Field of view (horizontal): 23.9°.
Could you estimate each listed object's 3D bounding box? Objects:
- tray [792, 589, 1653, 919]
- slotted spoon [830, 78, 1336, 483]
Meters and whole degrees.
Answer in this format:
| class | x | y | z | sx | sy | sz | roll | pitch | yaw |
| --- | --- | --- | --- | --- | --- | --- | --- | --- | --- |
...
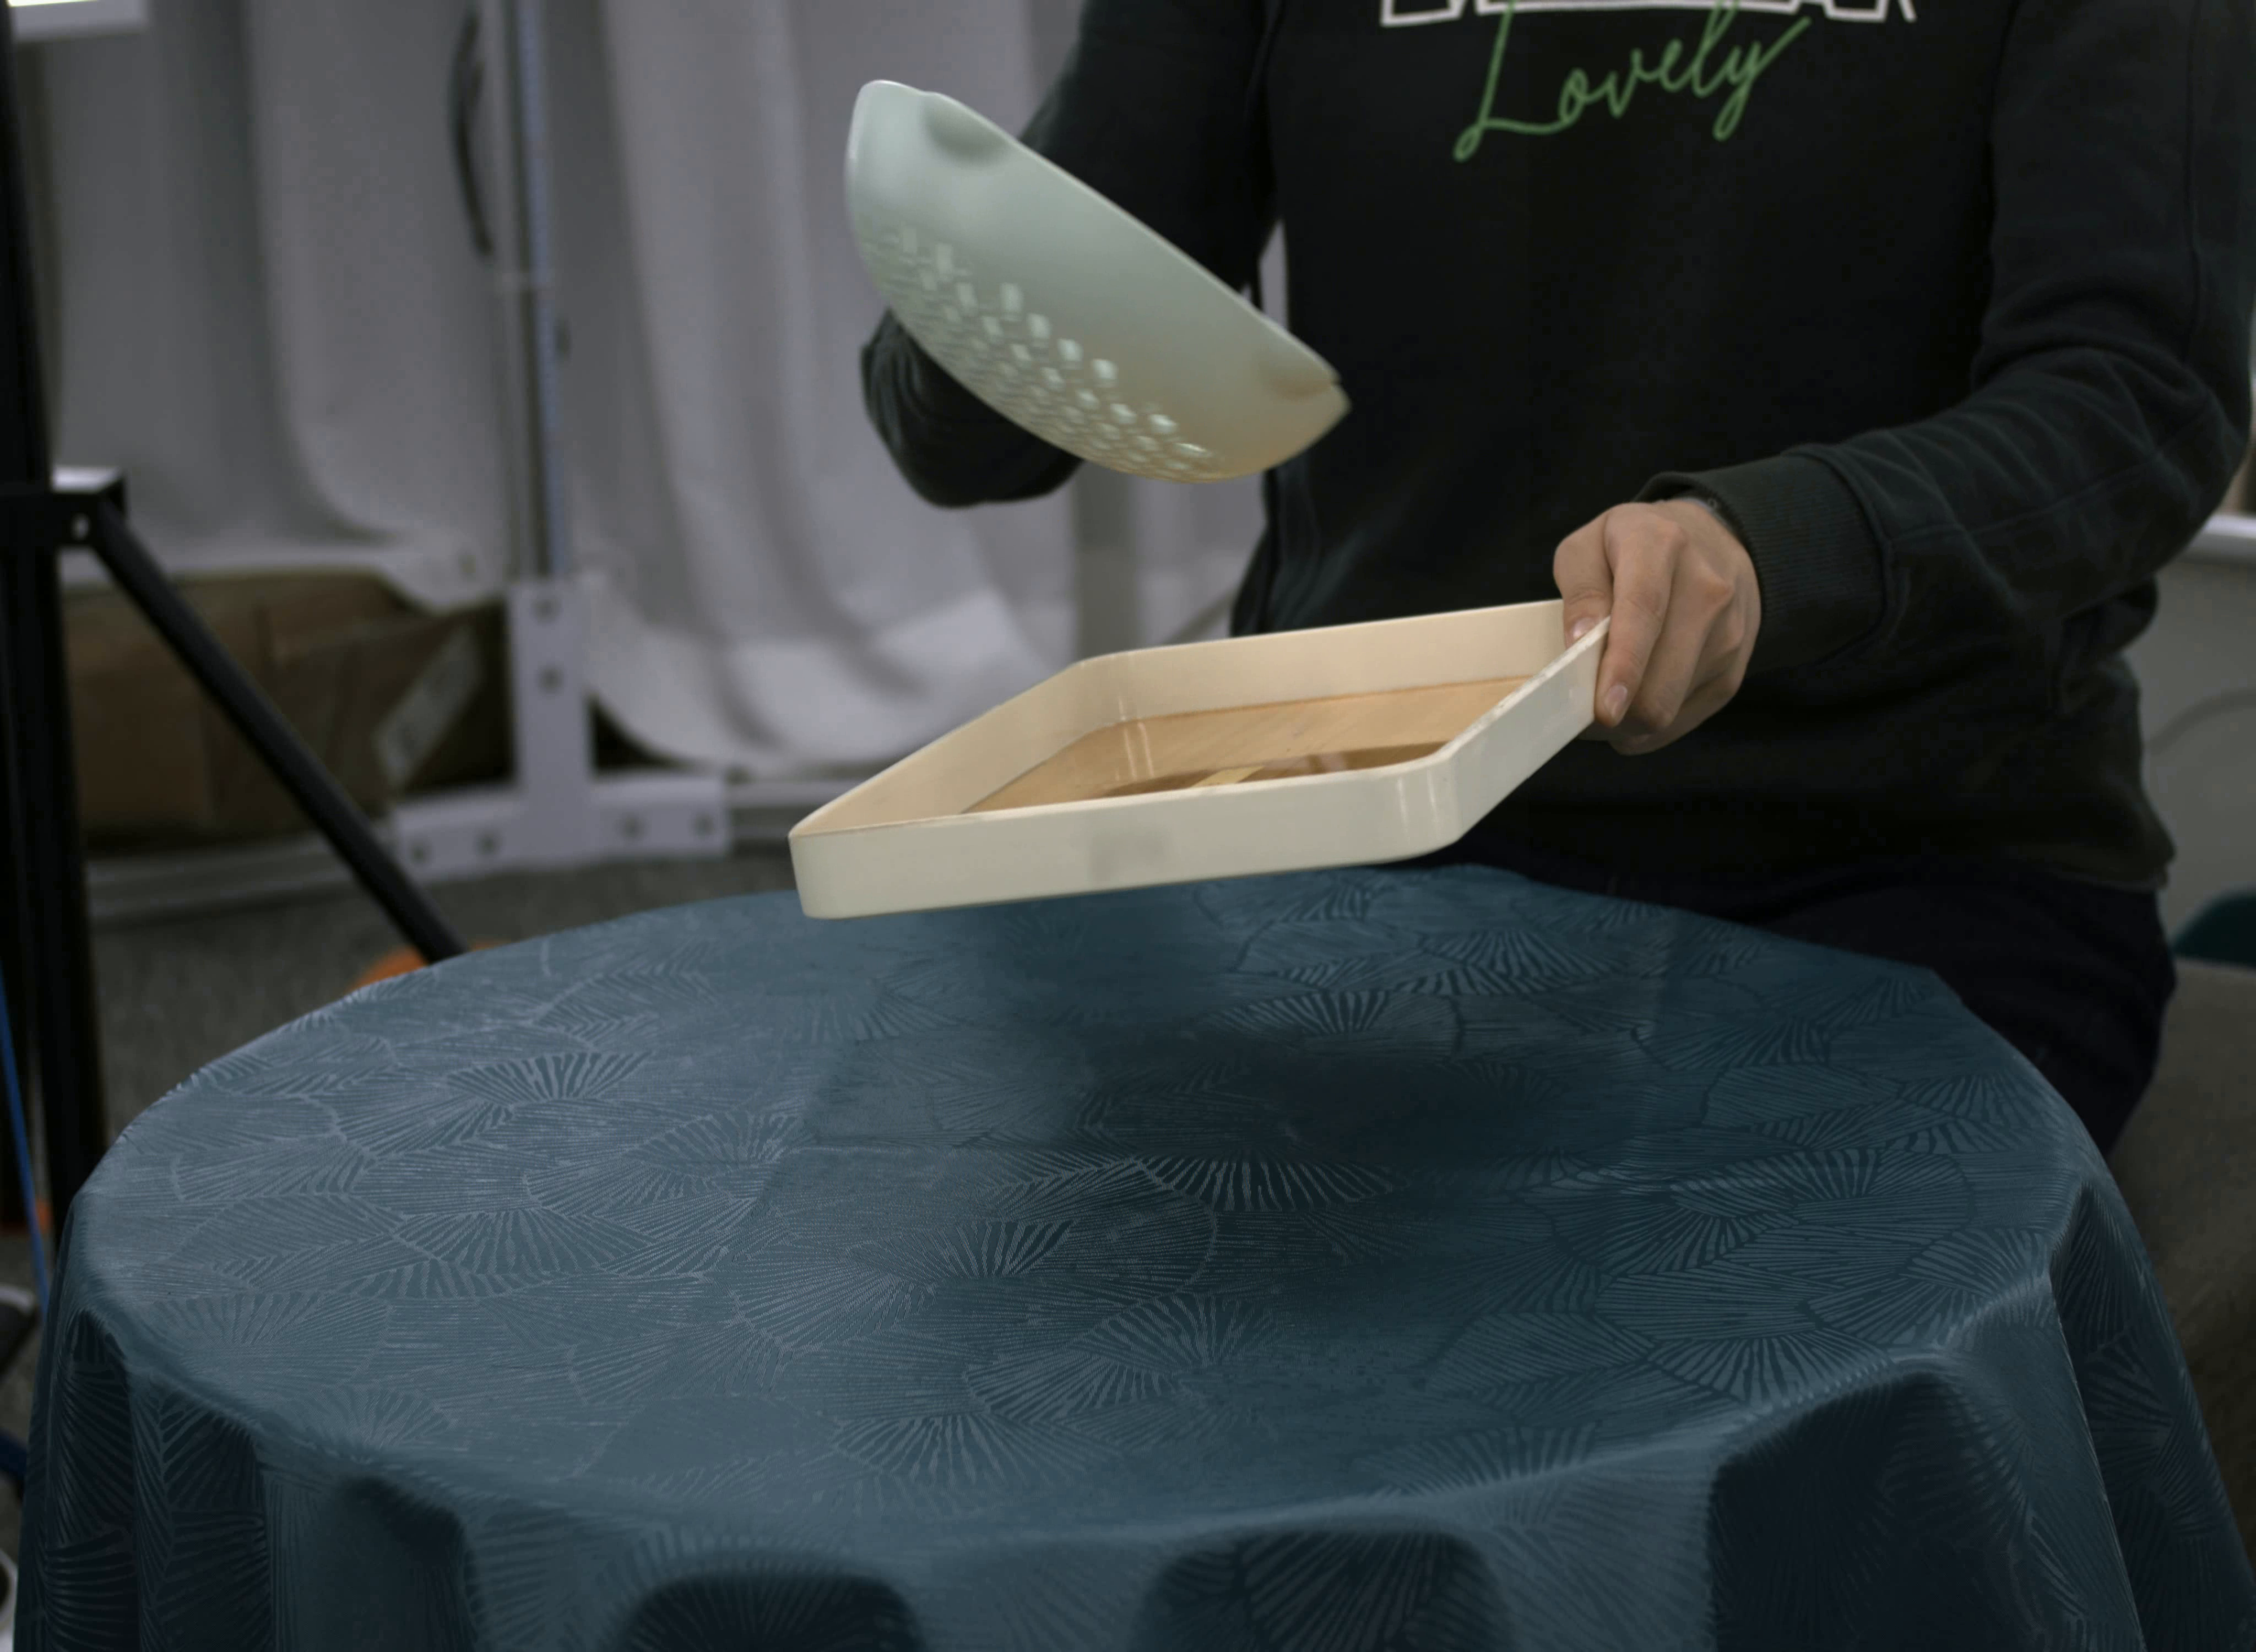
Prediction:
| class | x | y | z | sx | sy | sz | roll | pitch | yaw |
| --- | --- | --- | --- | --- | --- | --- | --- | --- | --- |
| tray | 0.036 | -0.023 | 1.555 | 0.193 | 0.027 | 0.297 | -7 | 10 | 19 |
| slotted spoon | -0.030 | -0.160 | 1.657 | 0.168 | 0.075 | 0.360 | 35 | 4 | -6 |
